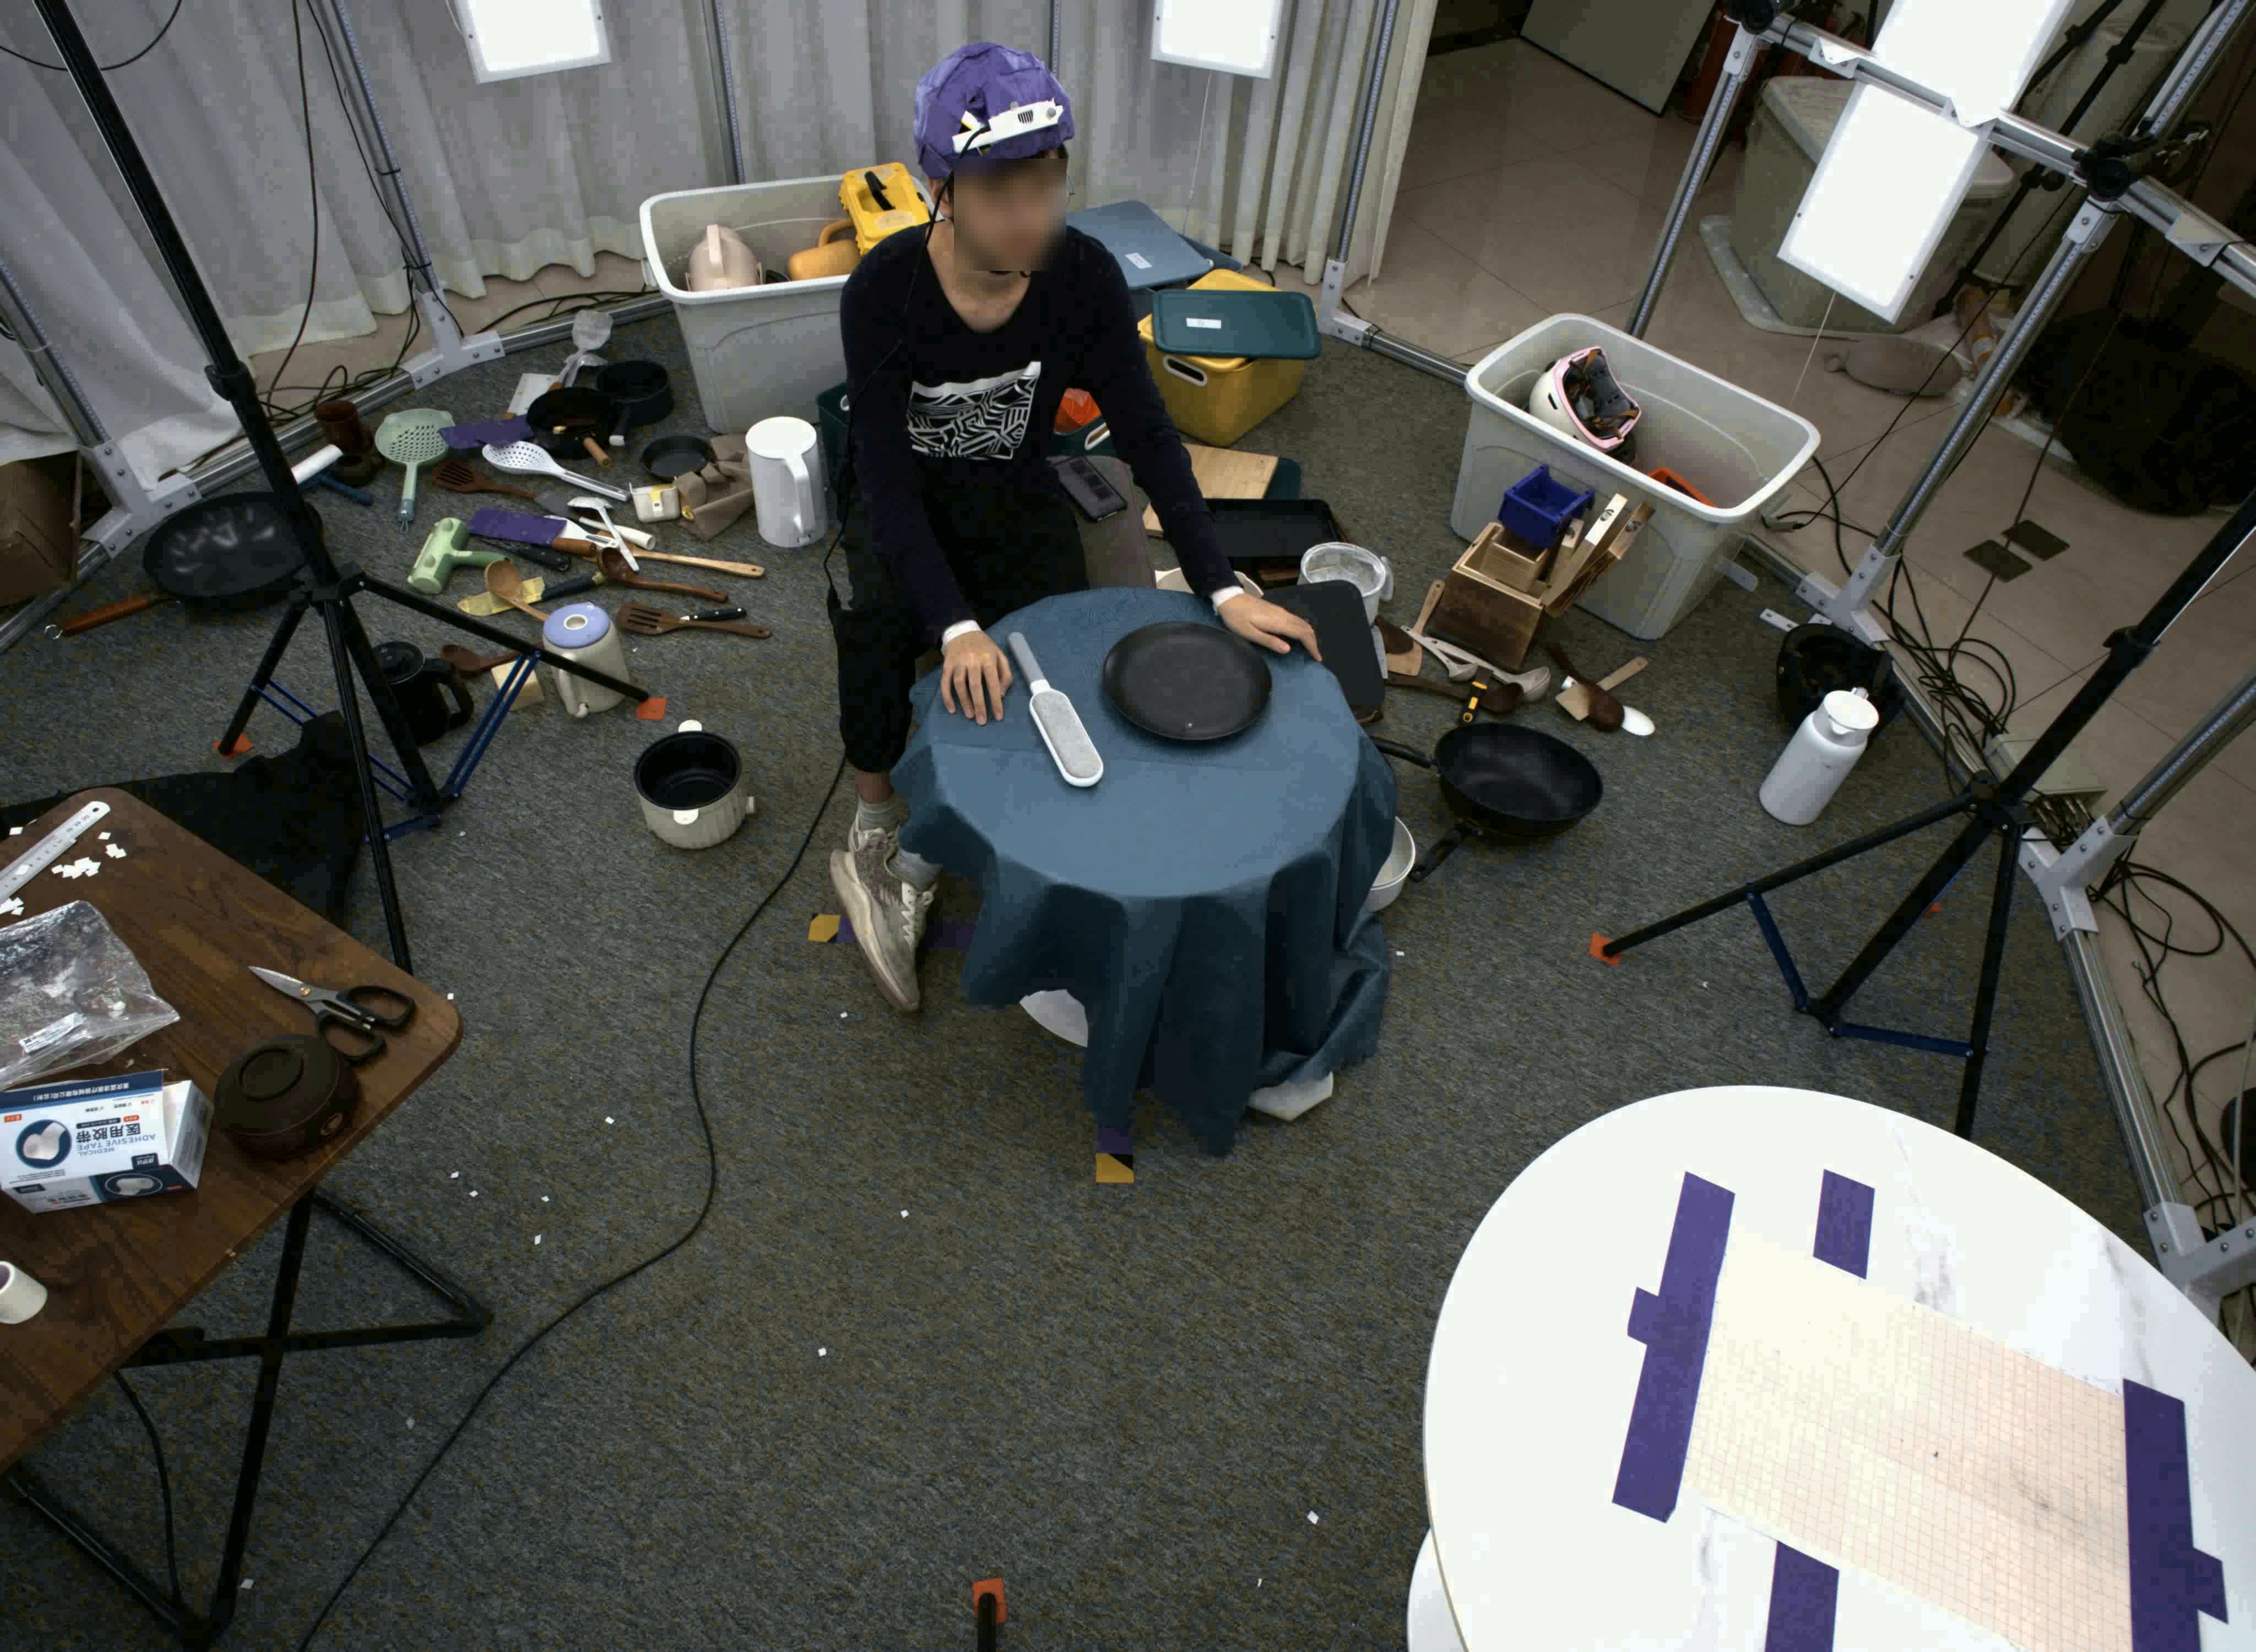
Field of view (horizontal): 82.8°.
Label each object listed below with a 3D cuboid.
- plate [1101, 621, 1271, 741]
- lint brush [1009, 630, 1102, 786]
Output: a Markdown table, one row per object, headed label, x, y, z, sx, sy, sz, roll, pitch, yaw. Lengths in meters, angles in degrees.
| label | x | y | z | sx | sy | sz | roll | pitch | yaw |
| --- | --- | --- | --- | --- | --- | --- | --- | --- | --- |
| plate | 0.082 | -0.206 | 1.836 | 0.244 | 0.023 | 0.250 | 2 | 49 | -3 |
| lint brush | -0.107 | -0.171 | 1.790 | 0.060 | 0.020 | 0.316 | -18 | 52 | -12 |
